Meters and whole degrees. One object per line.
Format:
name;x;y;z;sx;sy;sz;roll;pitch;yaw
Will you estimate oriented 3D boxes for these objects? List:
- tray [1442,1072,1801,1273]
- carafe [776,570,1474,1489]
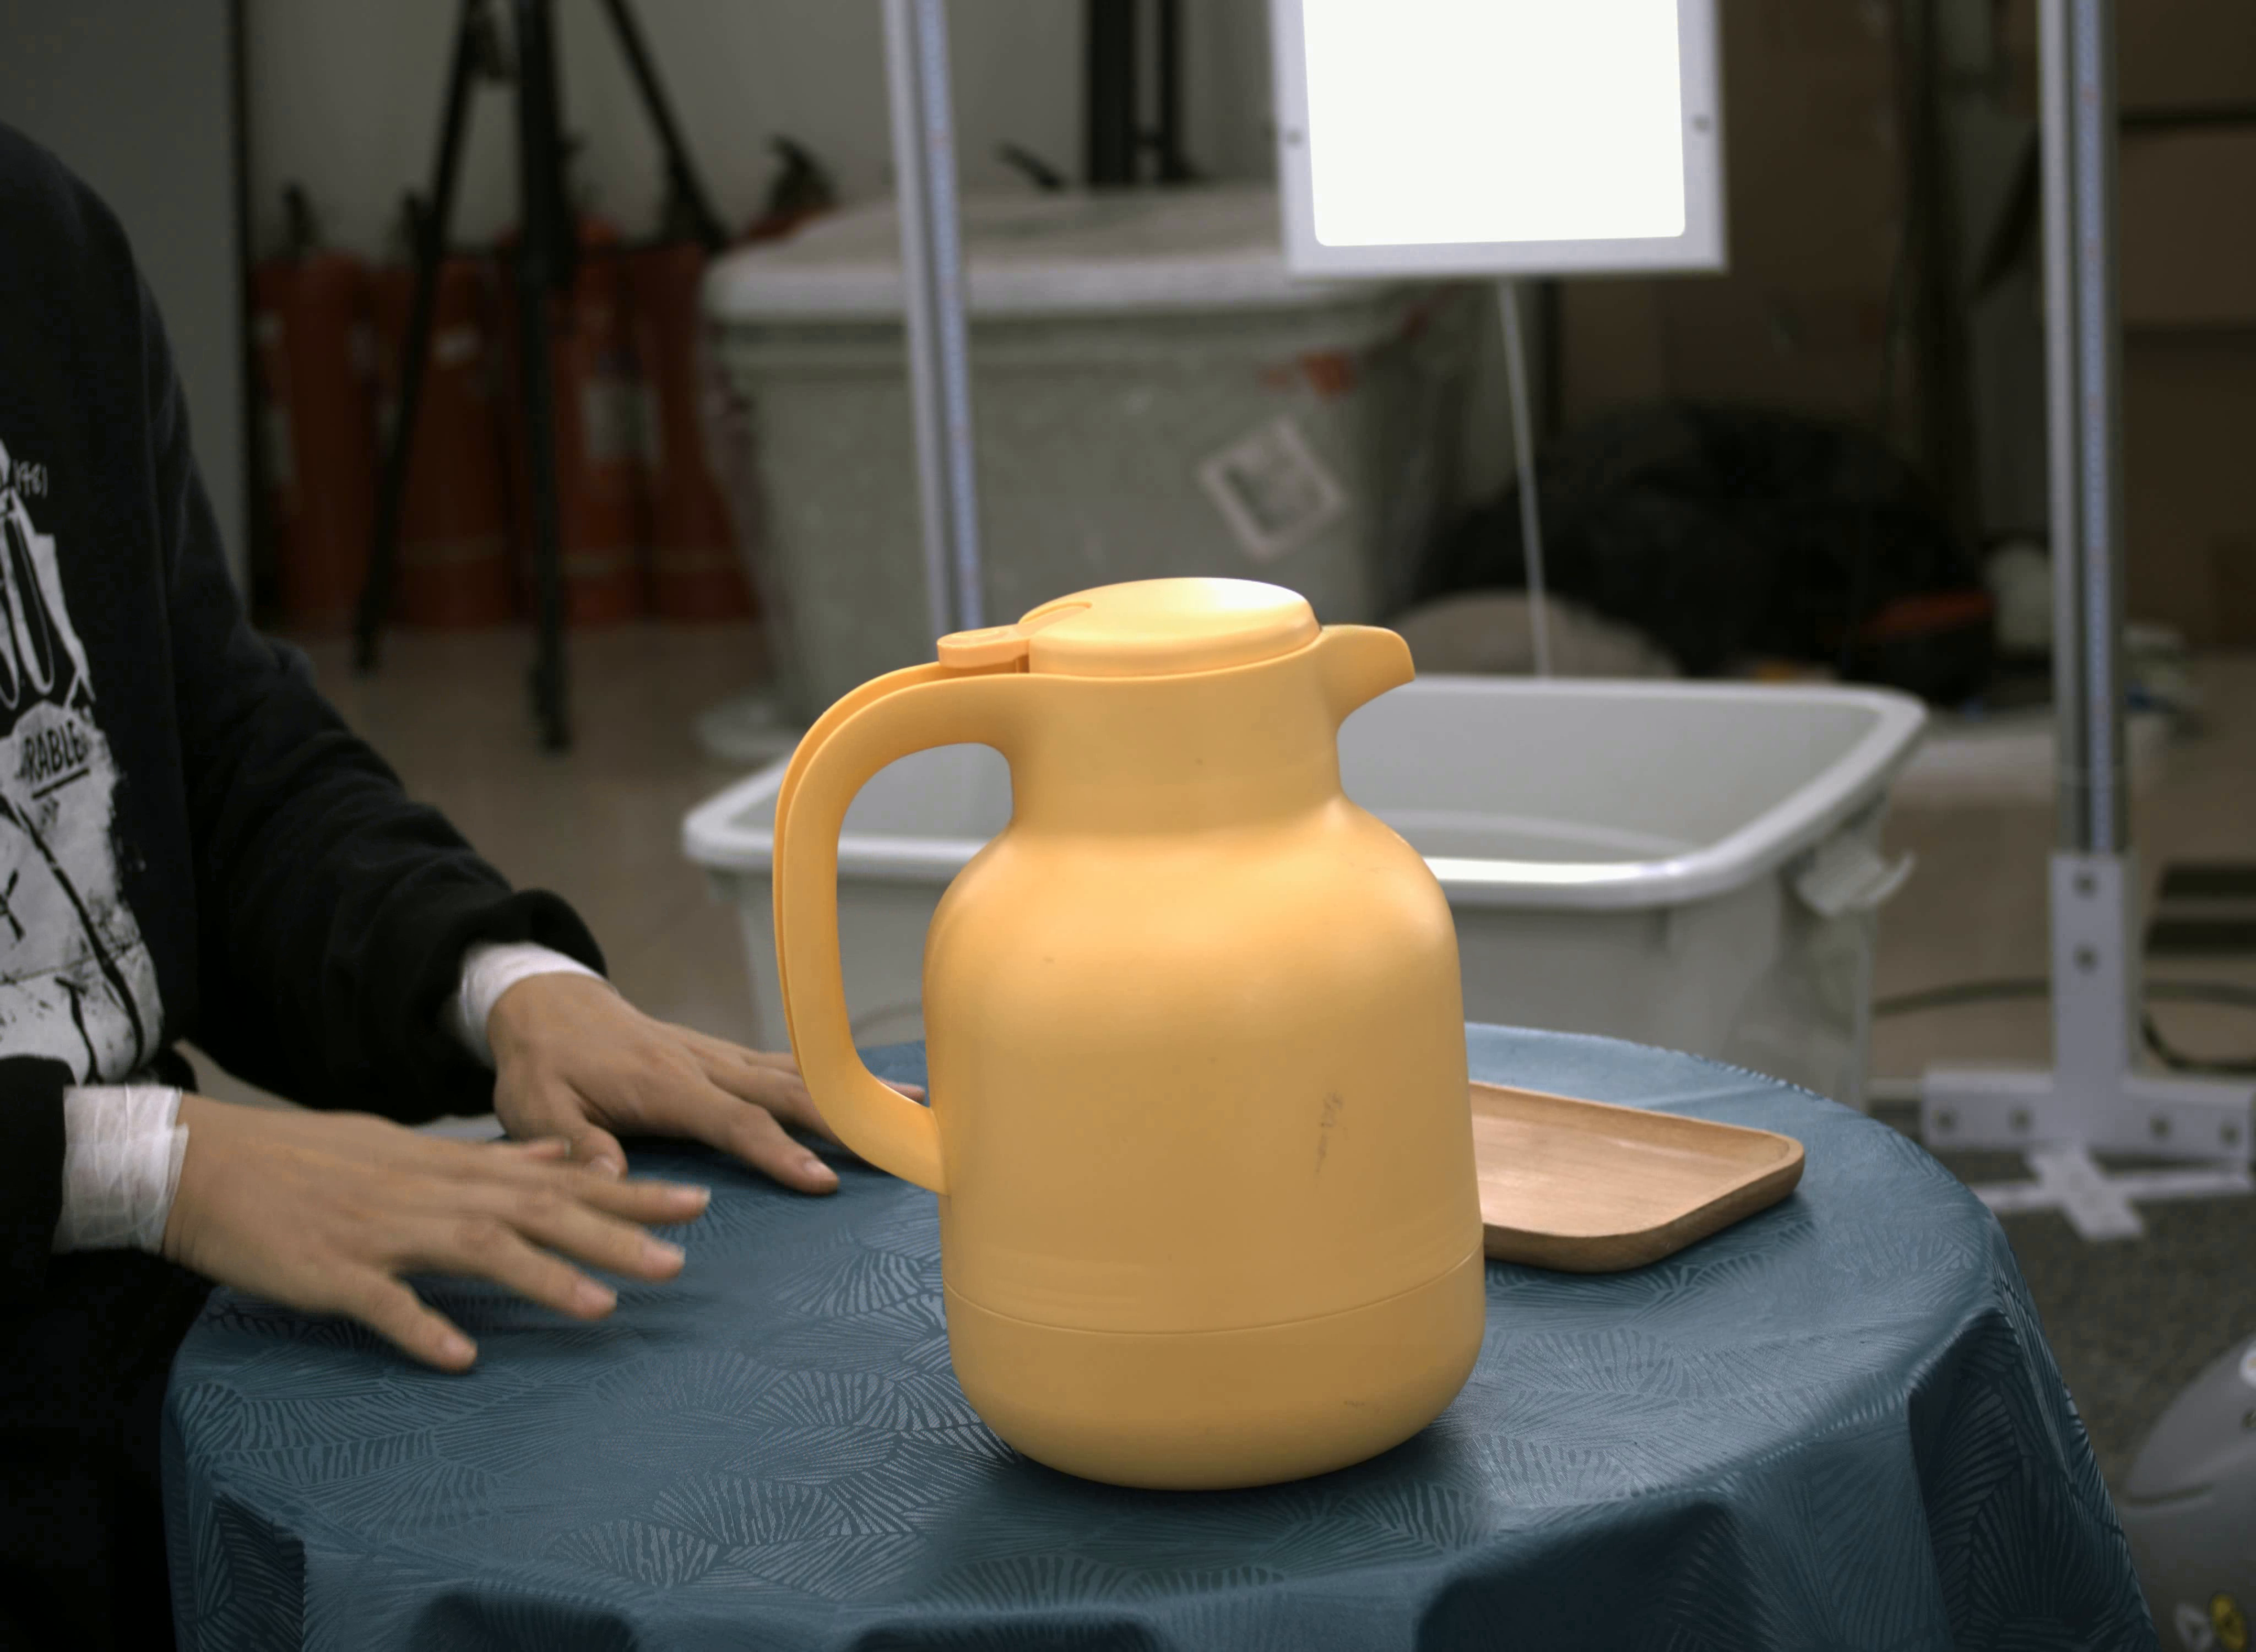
tray;0.103;0.113;1.881;0.256;0.023;0.127;7;16;43
carafe;-0.001;0.057;1.631;0.201;0.261;0.164;-5;12;-6
